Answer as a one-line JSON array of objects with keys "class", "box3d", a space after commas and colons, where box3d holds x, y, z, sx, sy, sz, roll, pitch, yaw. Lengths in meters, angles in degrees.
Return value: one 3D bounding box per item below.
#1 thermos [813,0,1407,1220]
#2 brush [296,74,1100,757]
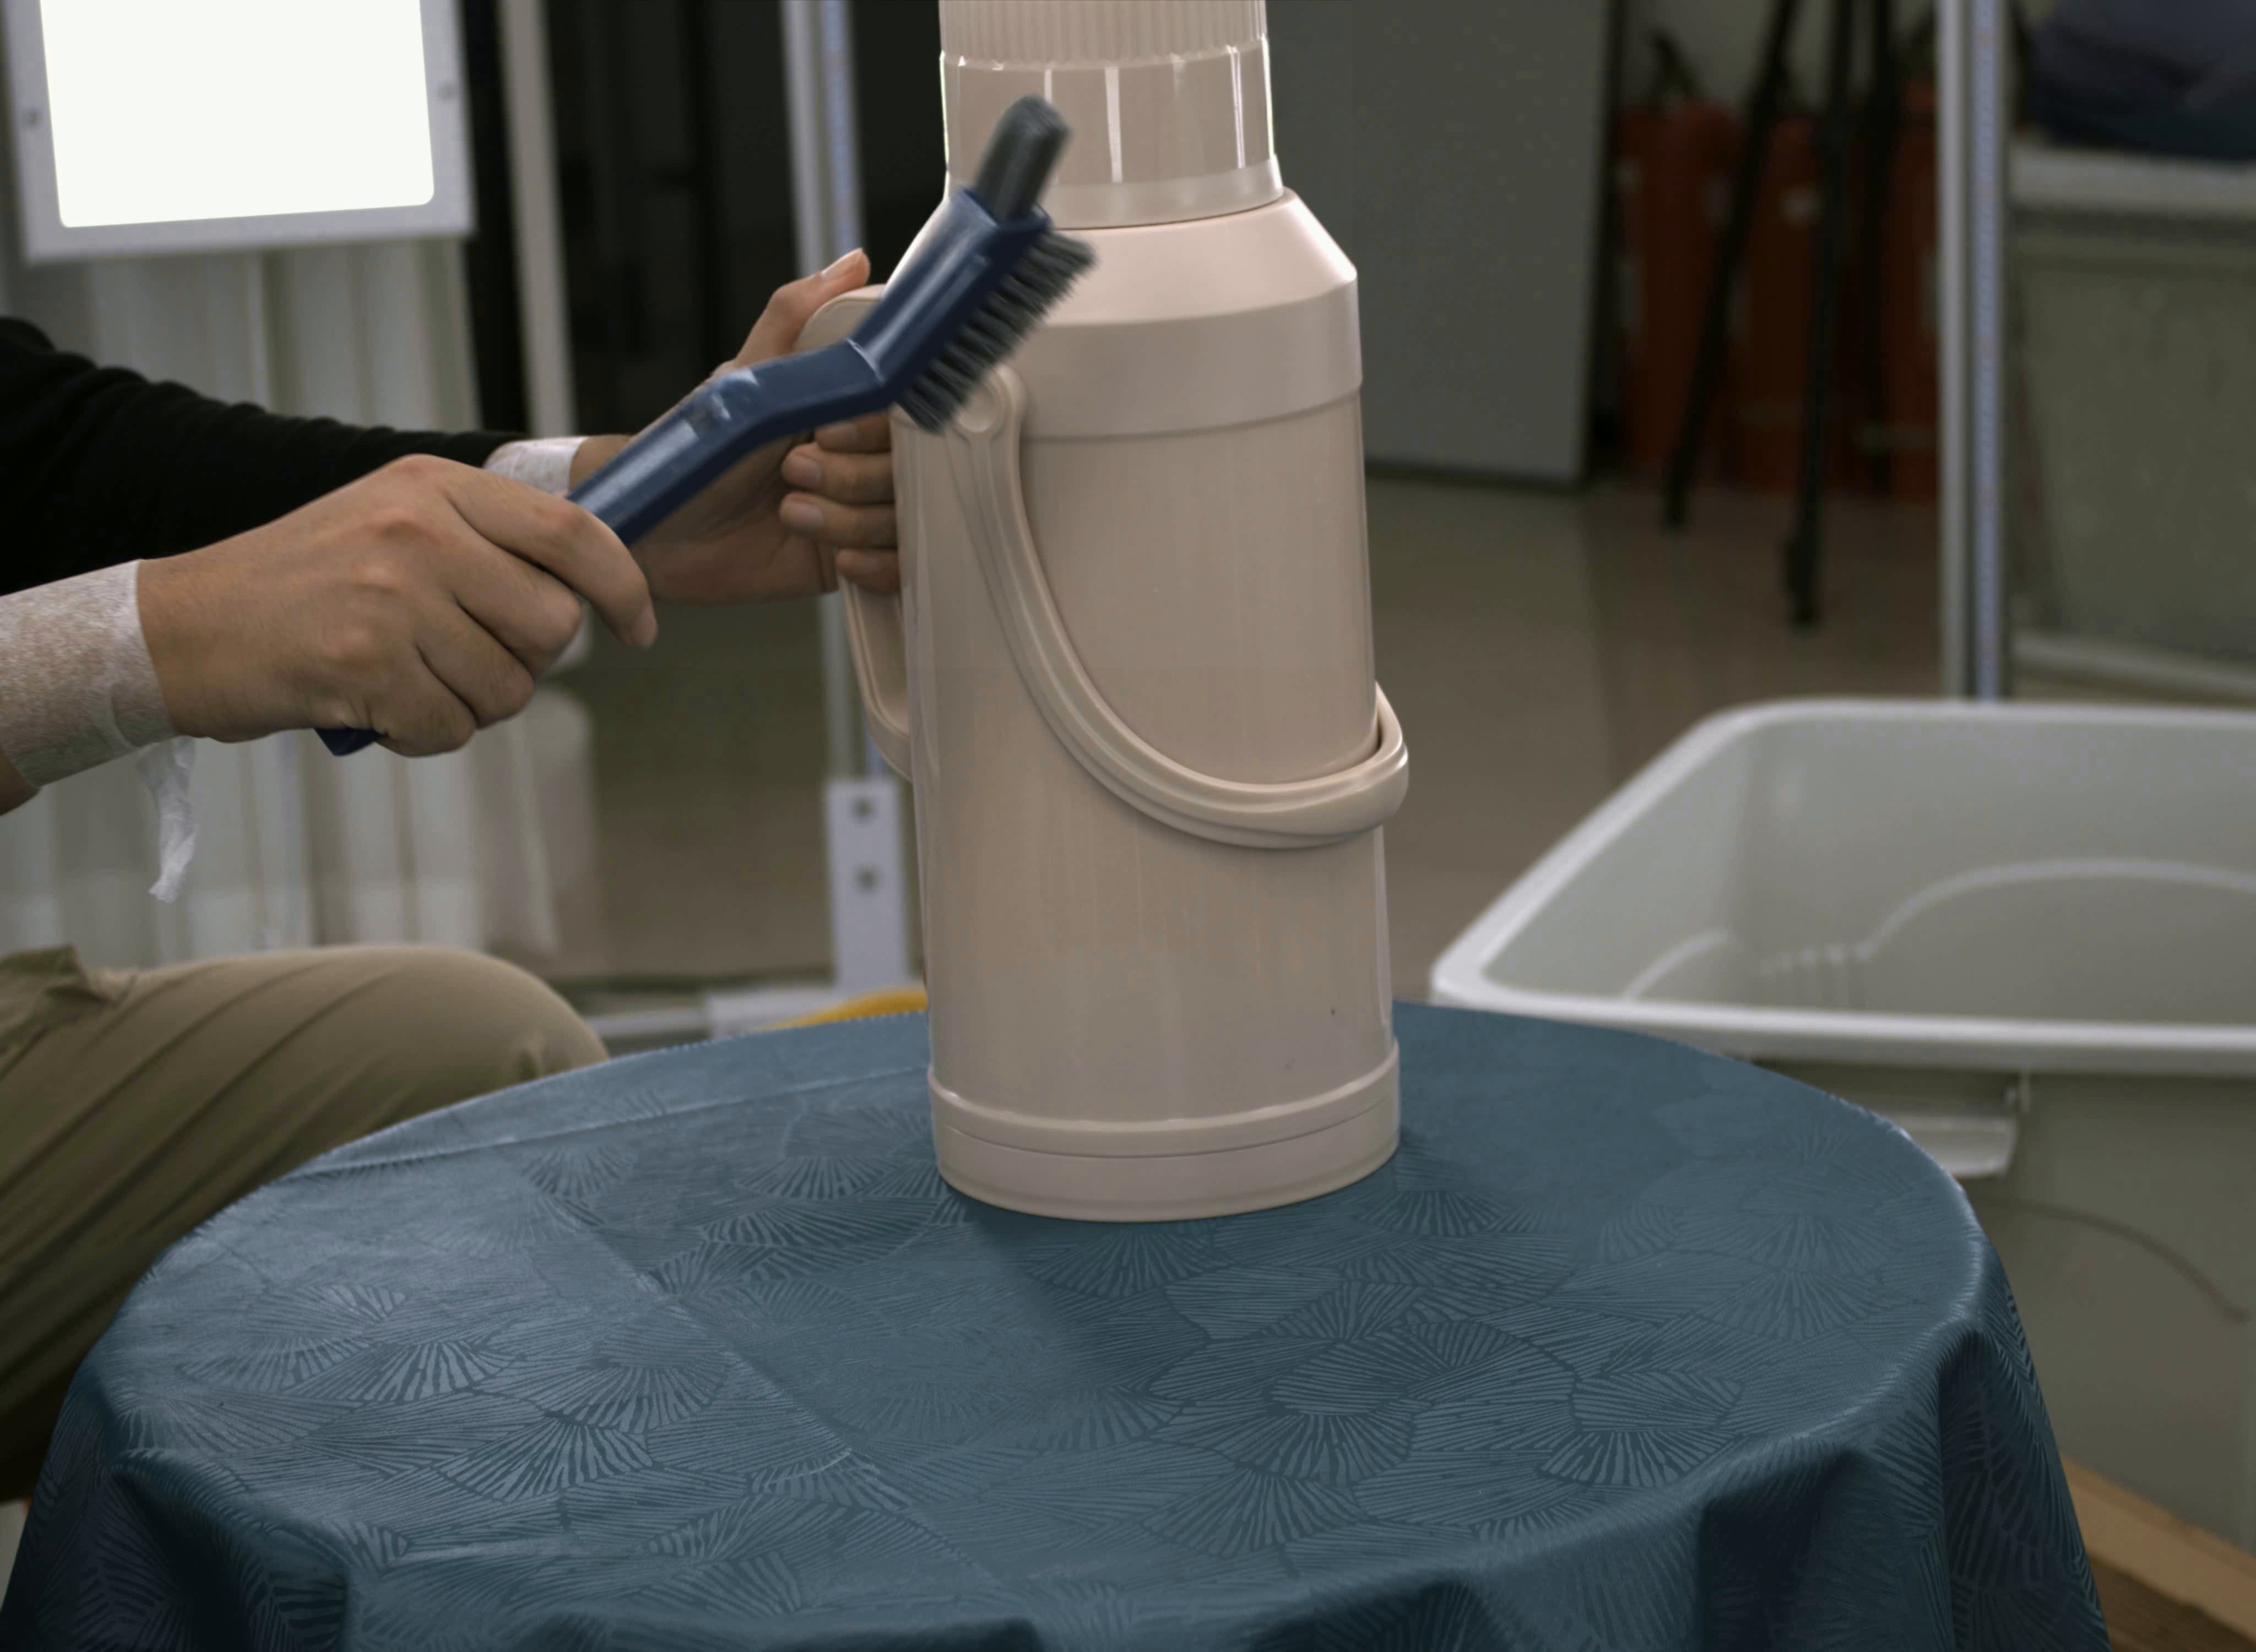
[{"class": "thermos", "box3d": [-0.009, -0.086, 1.778, 0.208, 0.410, 0.172, 5, 17, 32]}, {"class": "brush", "box3d": [-0.128, -0.117, 1.569, 0.271, 0.095, 0.034, -31, 50, -7]}]
